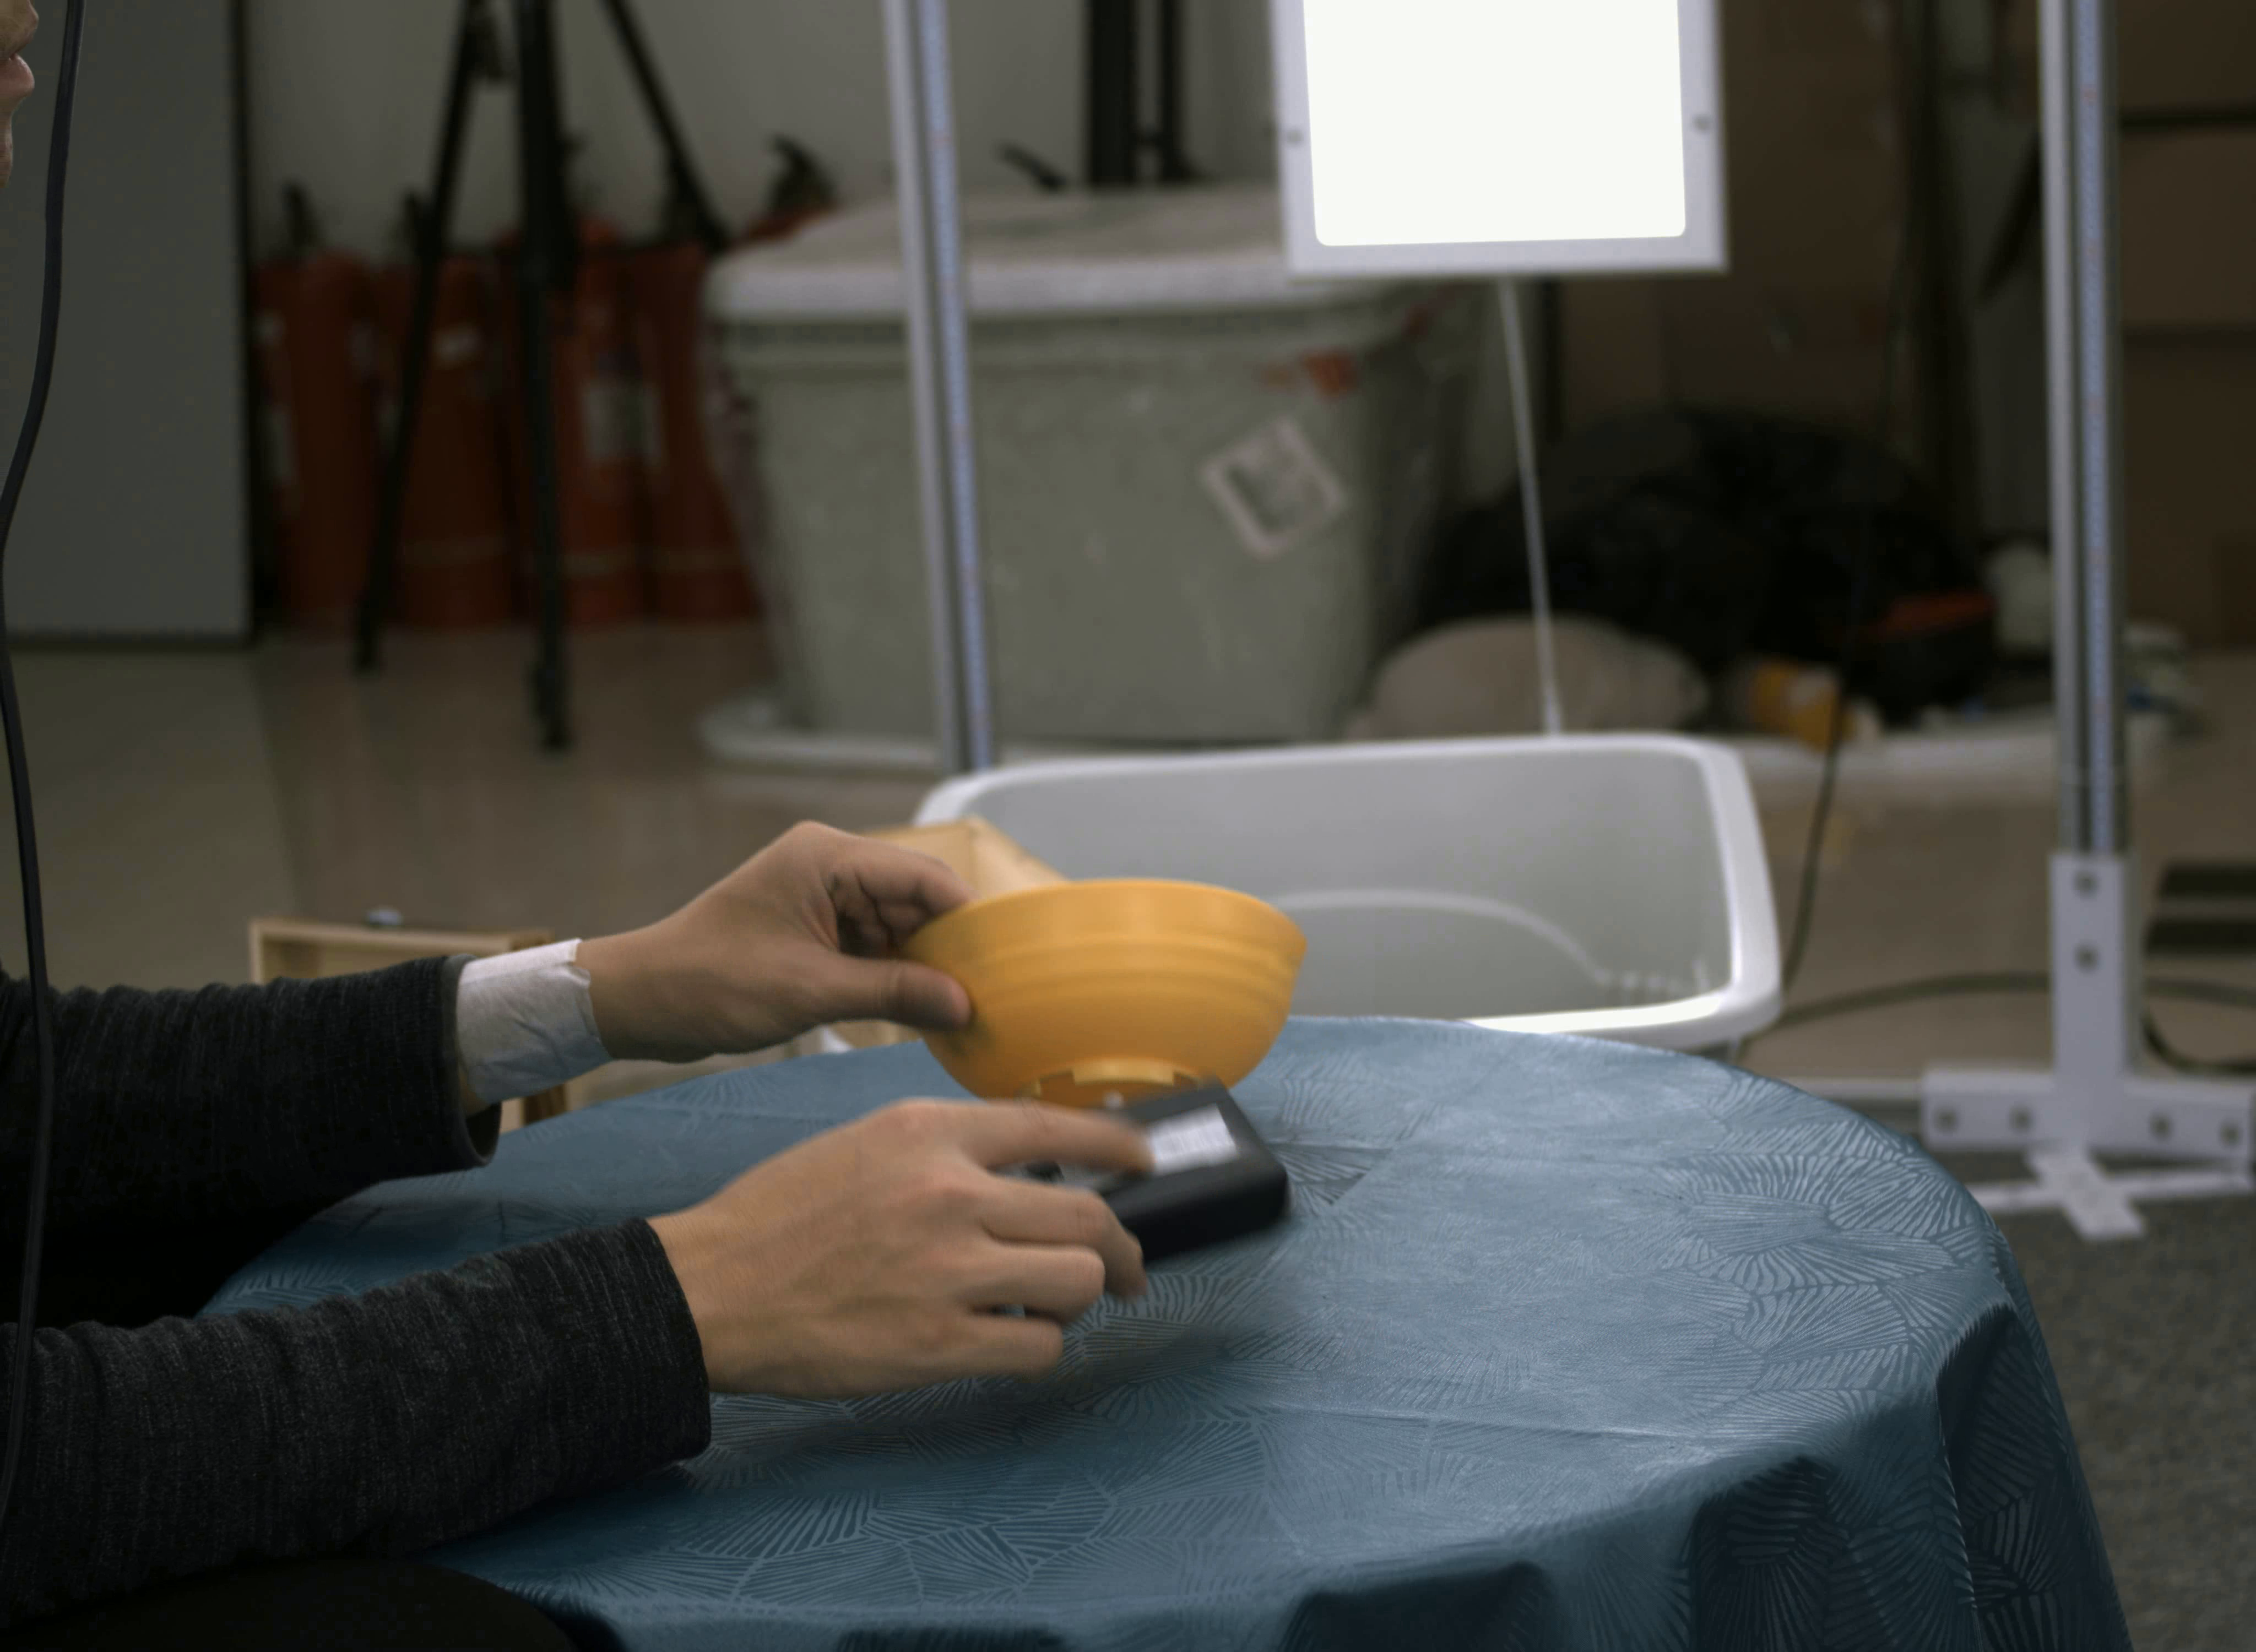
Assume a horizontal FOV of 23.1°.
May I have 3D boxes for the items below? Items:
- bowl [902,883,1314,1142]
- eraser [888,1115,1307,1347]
[{"bbox_3d":[-0.006,0.072,1.912,0.145,0.060,0.146,-1,-20,-2],"label":"bowl"},{"bbox_3d":[-0.010,0.125,1.717,0.123,0.031,0.054,-11,41,-27],"label":"eraser"}]
